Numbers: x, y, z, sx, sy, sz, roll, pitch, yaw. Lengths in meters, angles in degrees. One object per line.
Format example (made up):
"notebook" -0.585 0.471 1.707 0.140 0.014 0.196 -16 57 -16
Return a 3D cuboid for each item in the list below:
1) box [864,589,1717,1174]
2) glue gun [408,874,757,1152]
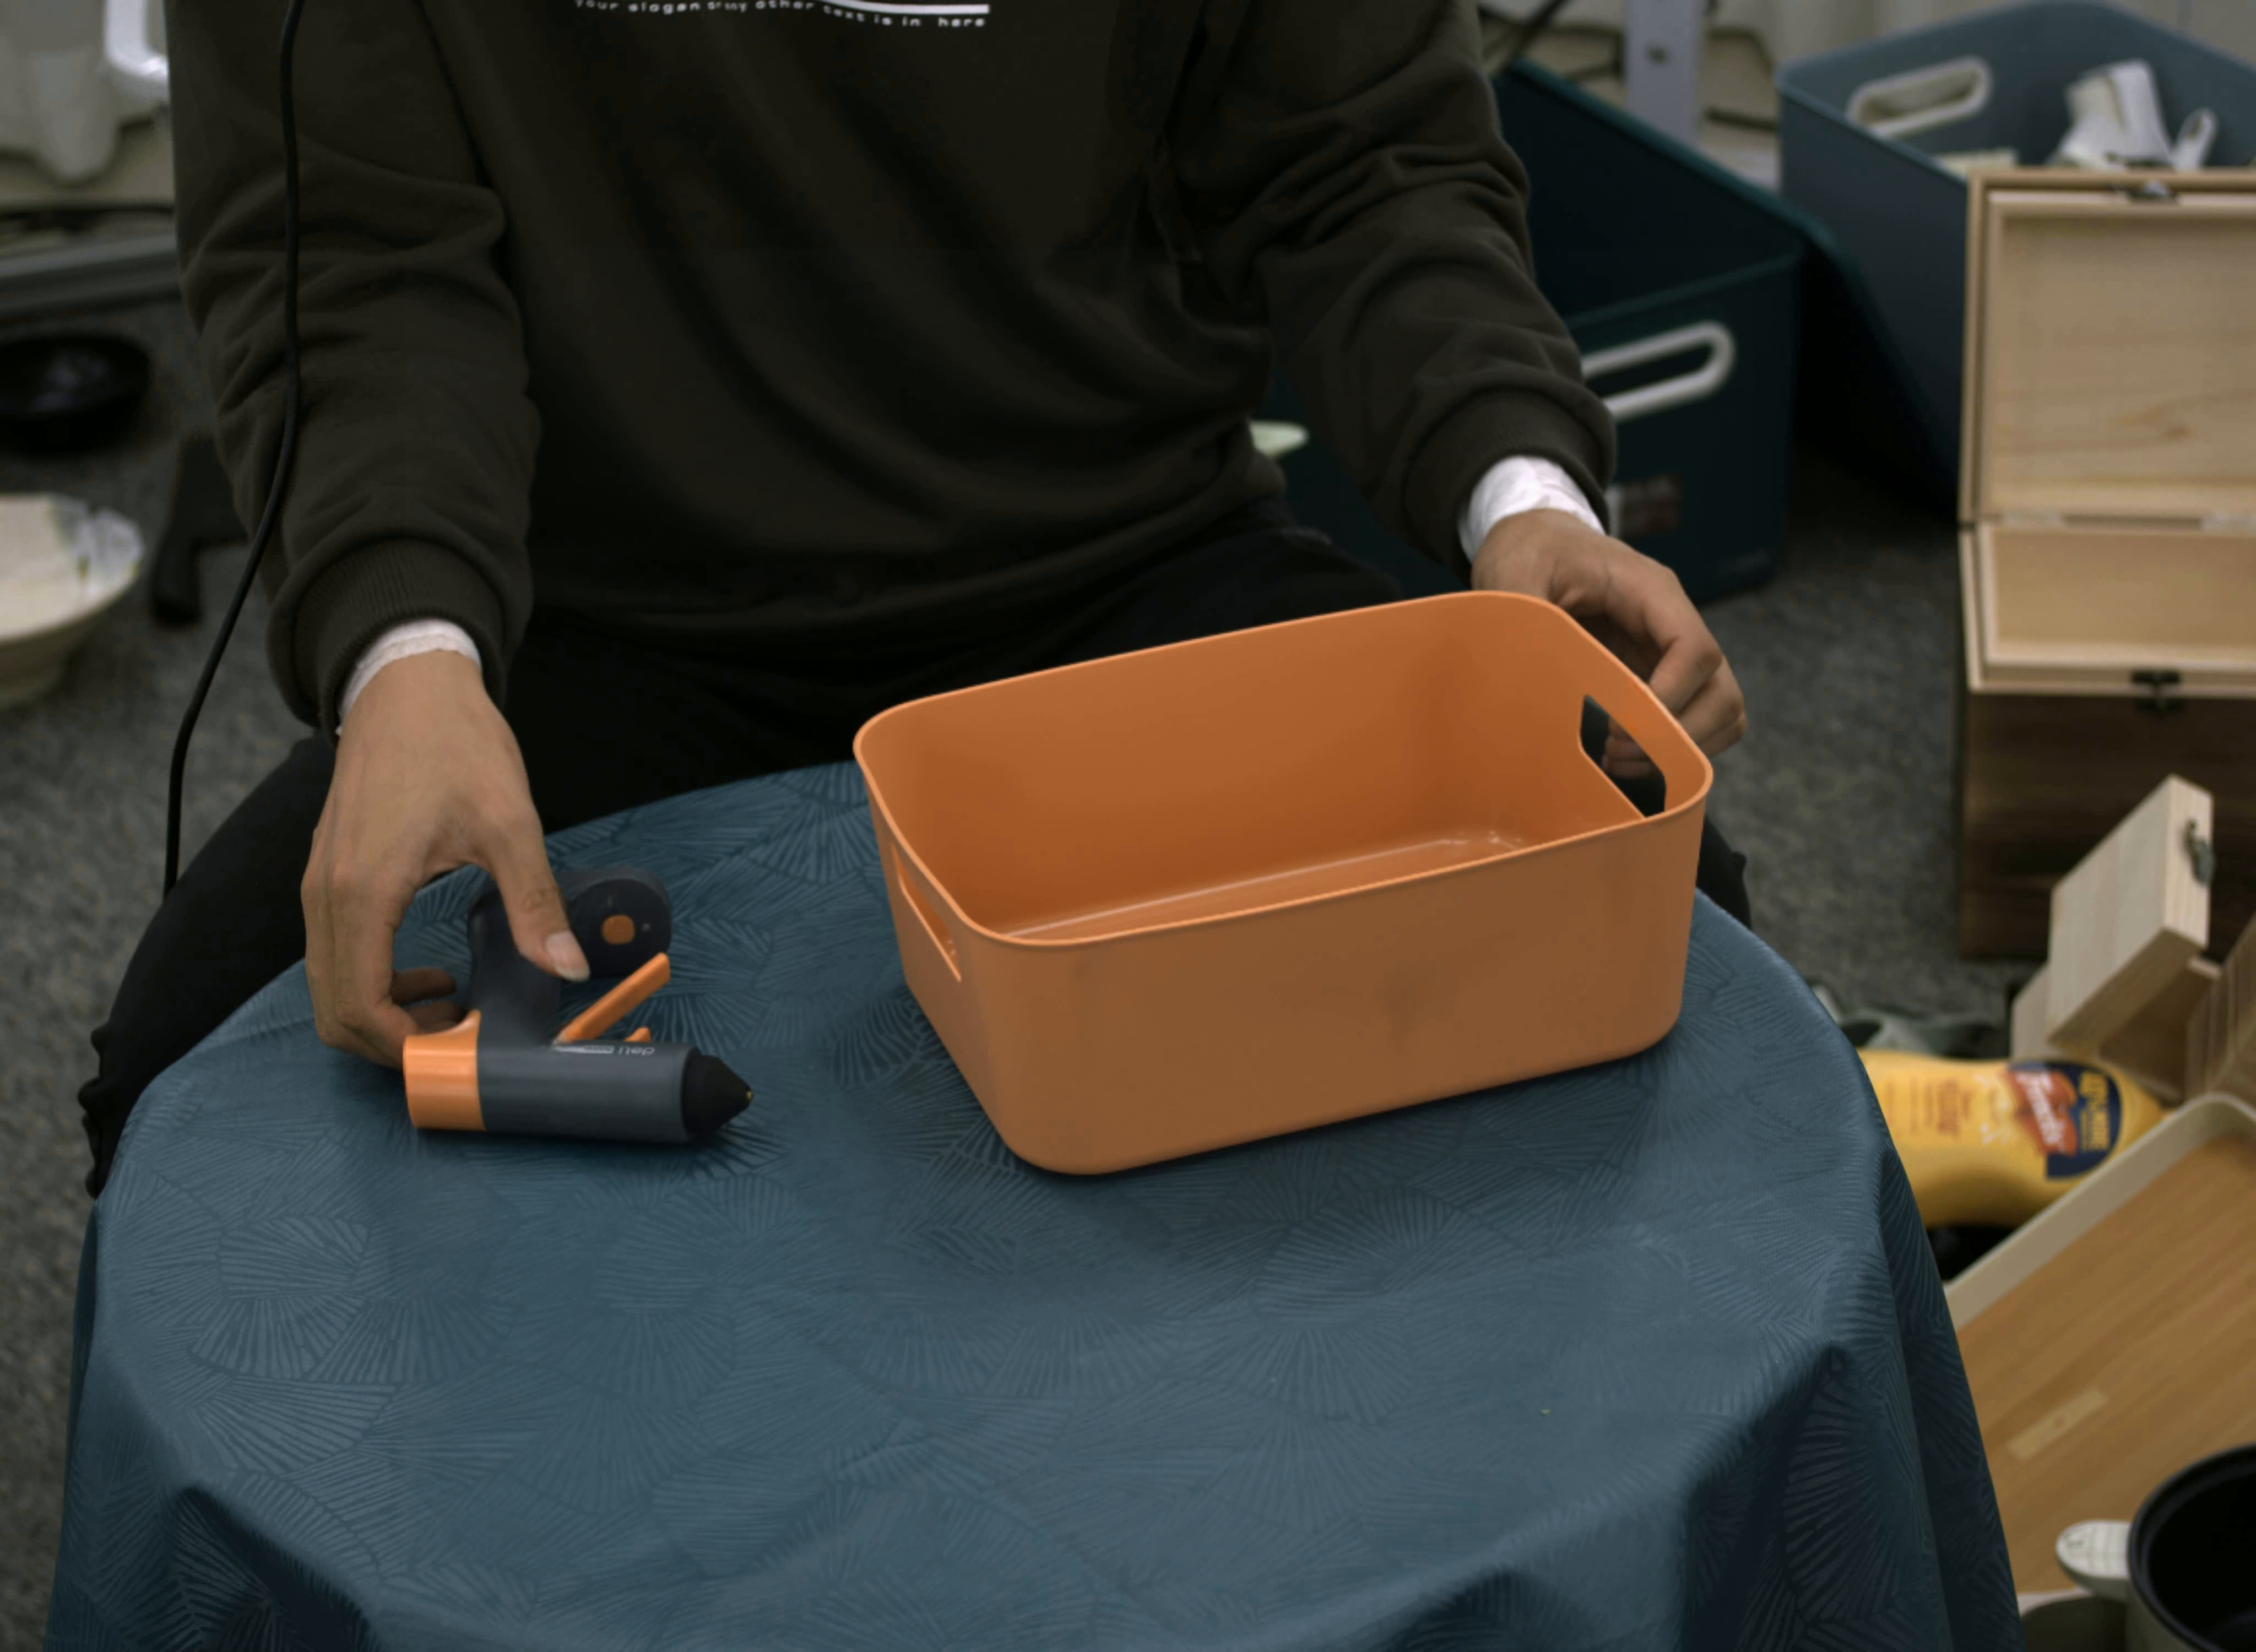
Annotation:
"box" 0.055 0.019 1.948 0.273 0.101 0.201 -12 28 -16
"glue gun" -0.189 0.070 1.951 0.117 0.040 0.142 -3 29 -5
